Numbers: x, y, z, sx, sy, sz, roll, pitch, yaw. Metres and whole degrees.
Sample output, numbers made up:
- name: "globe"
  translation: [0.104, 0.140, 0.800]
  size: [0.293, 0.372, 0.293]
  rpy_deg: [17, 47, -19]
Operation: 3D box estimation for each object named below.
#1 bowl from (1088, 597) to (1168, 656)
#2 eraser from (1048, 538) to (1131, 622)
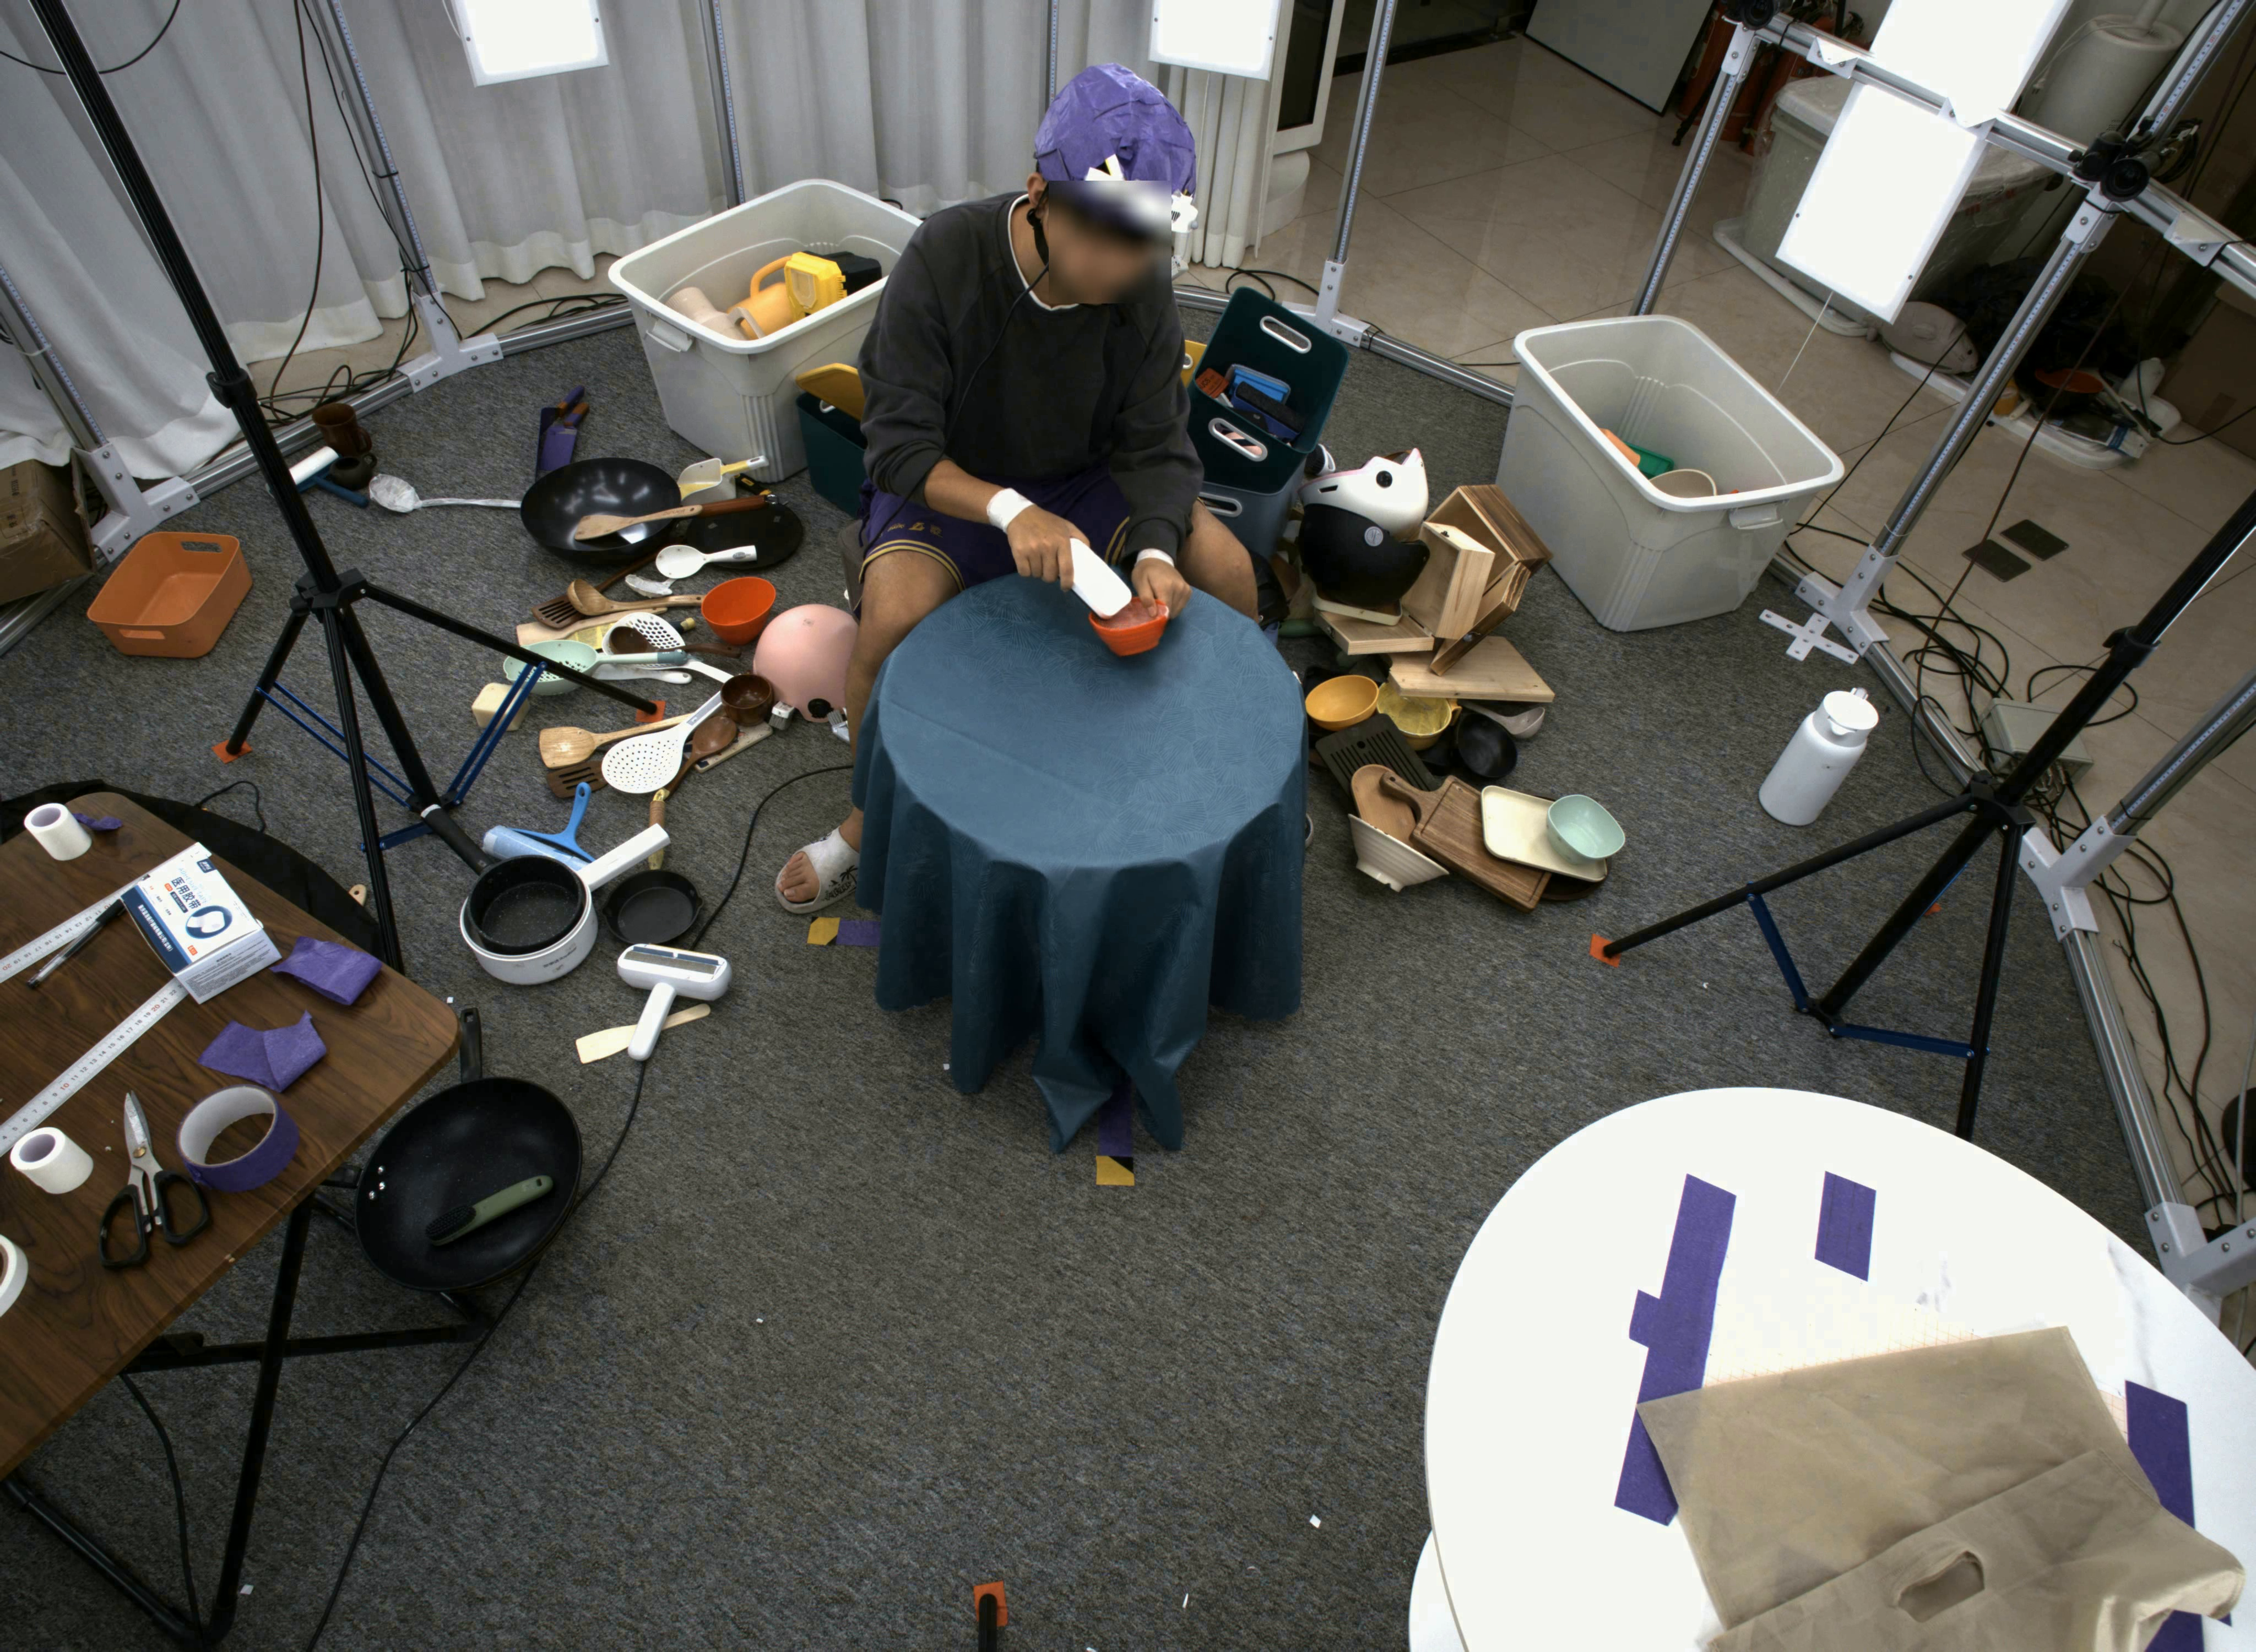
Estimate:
- name: "bowl"
  translation: [0.003, -0.285, 1.851]
  size: [0.119, 0.050, 0.121]
  rpy_deg: [-8, 30, 4]
- name: "eraser"
  translation: [-0.055, -0.358, 1.867]
  size: [0.064, 0.034, 0.132]
  rpy_deg: [-39, 84, -29]
